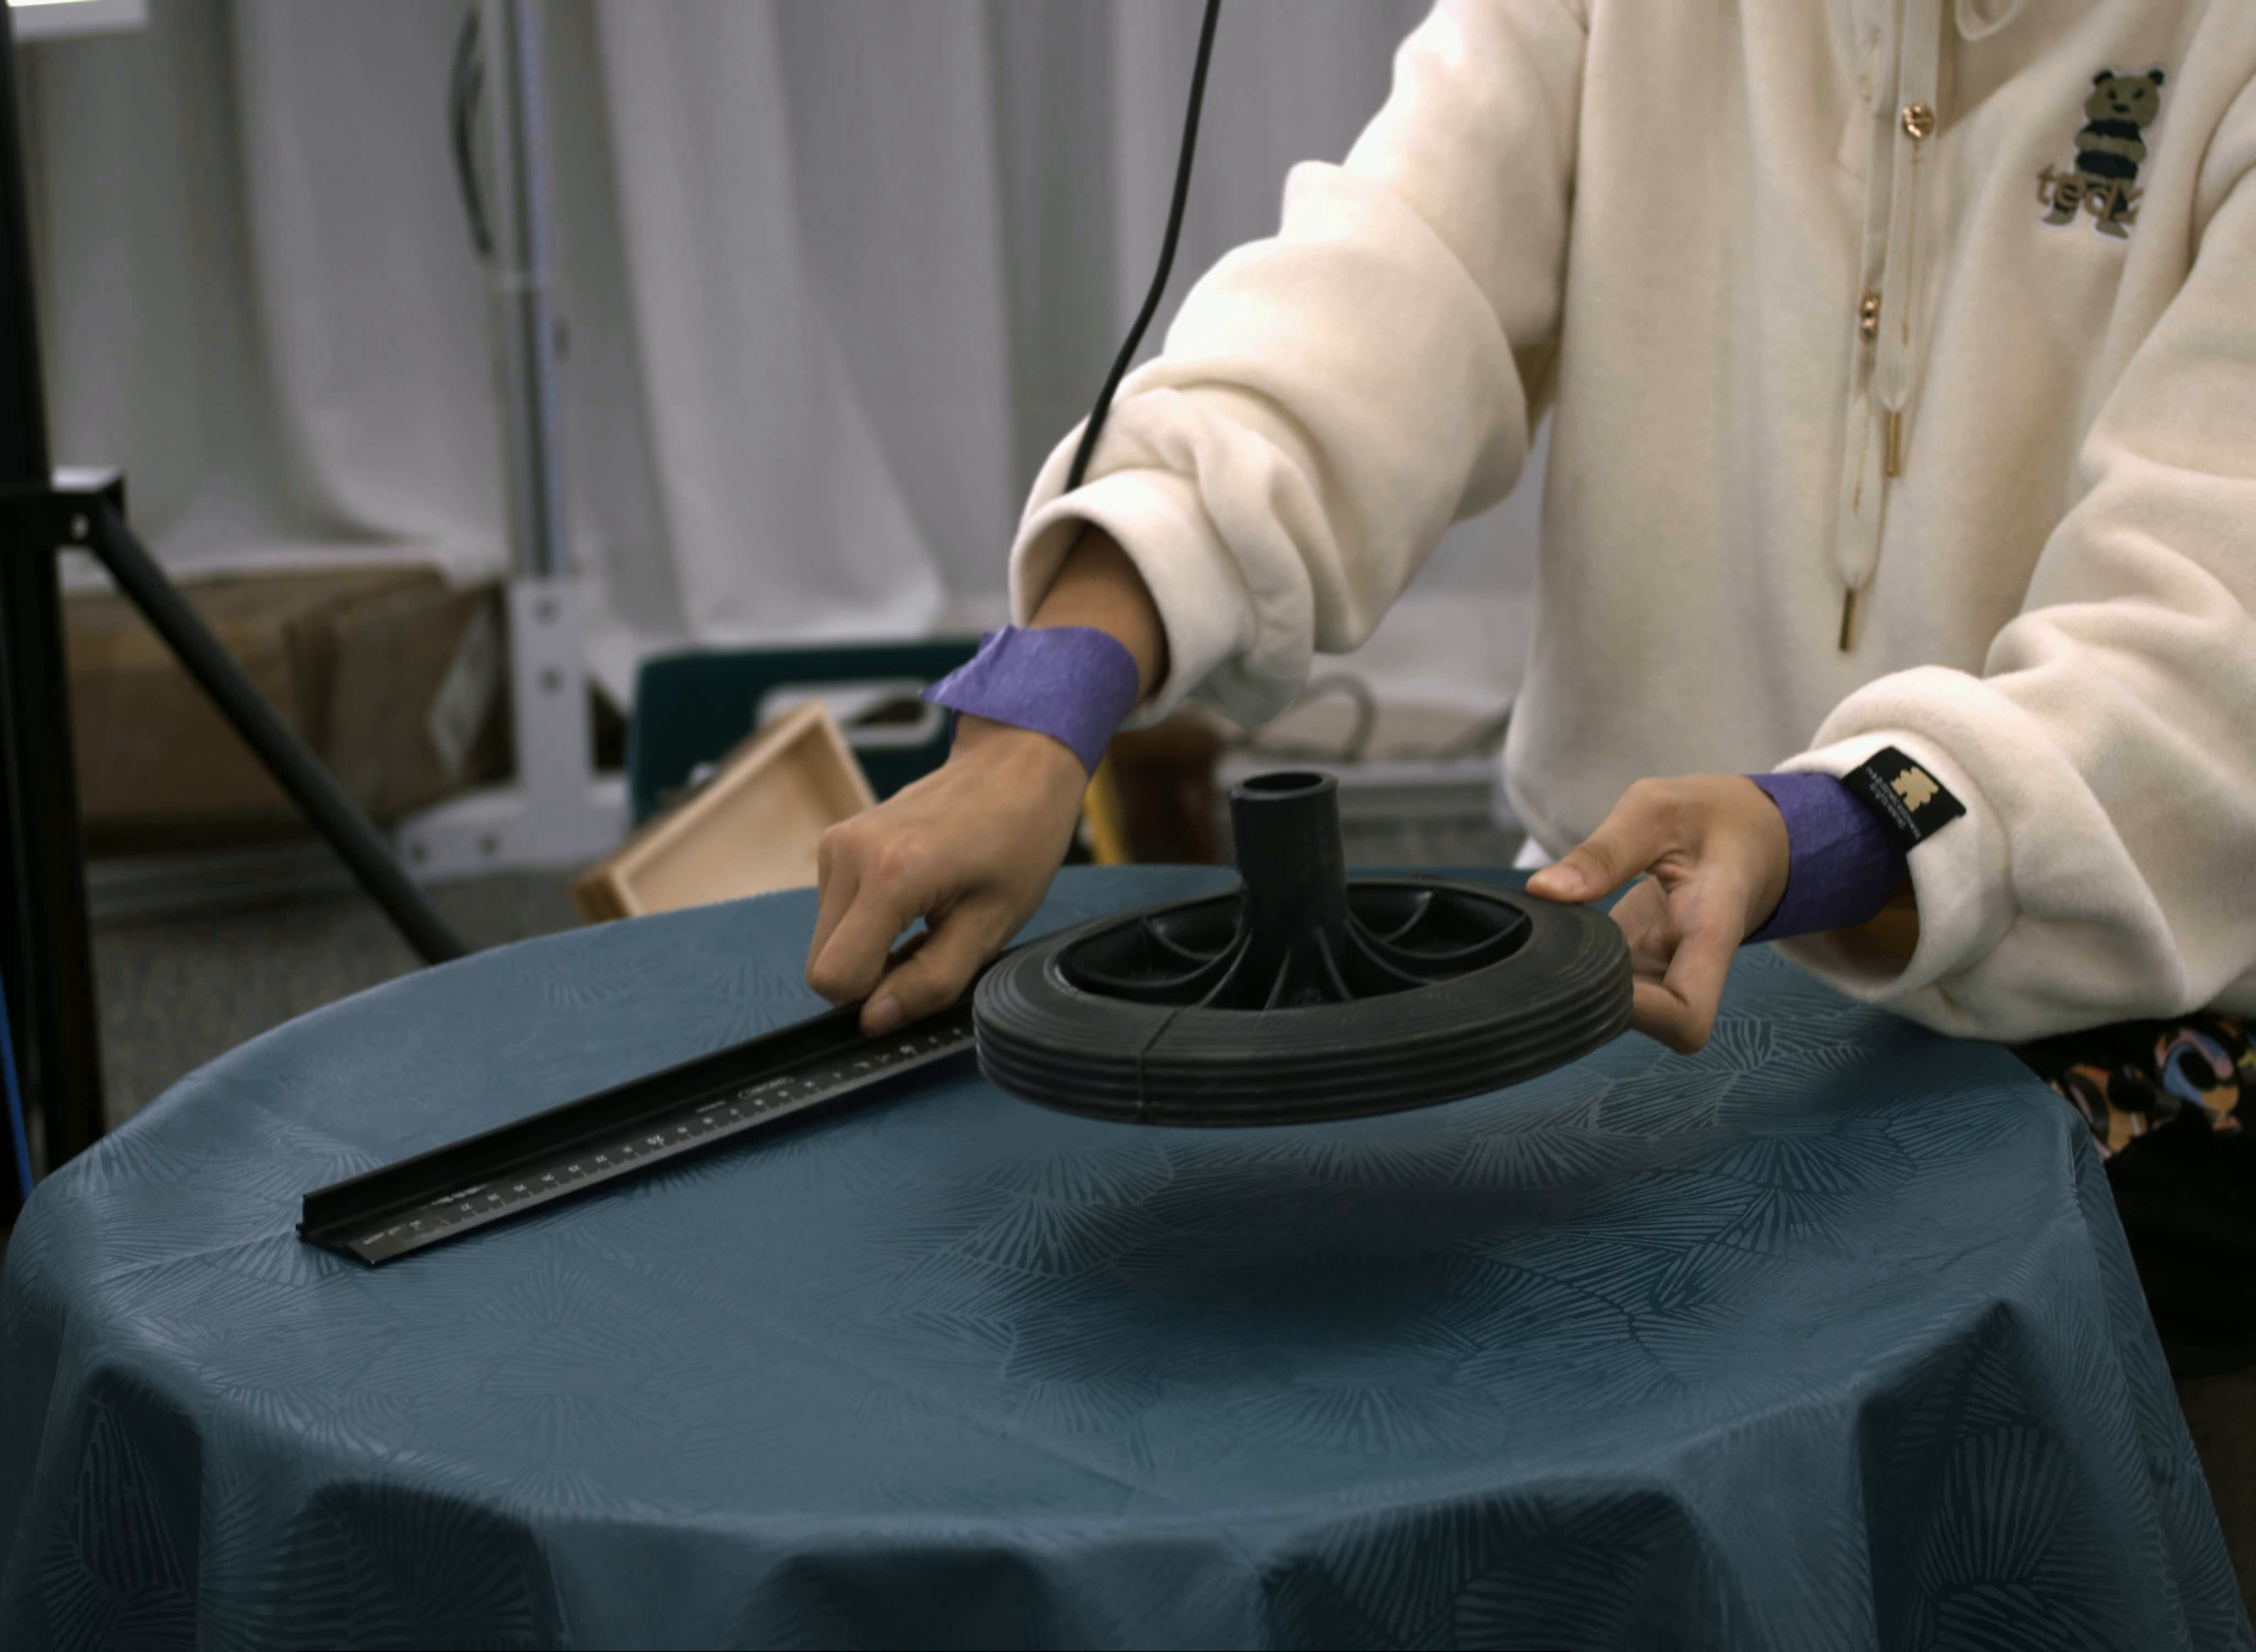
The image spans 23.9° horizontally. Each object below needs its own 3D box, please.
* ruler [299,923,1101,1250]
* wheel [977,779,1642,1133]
[{"bbox_3d":[-0.115,0.077,1.631,0.305,0.017,0.040,-18,22,-37],"label":"ruler"},{"bbox_3d":[0.049,0.029,1.498,0.184,0.079,0.193,-11,15,-22],"label":"wheel"}]
